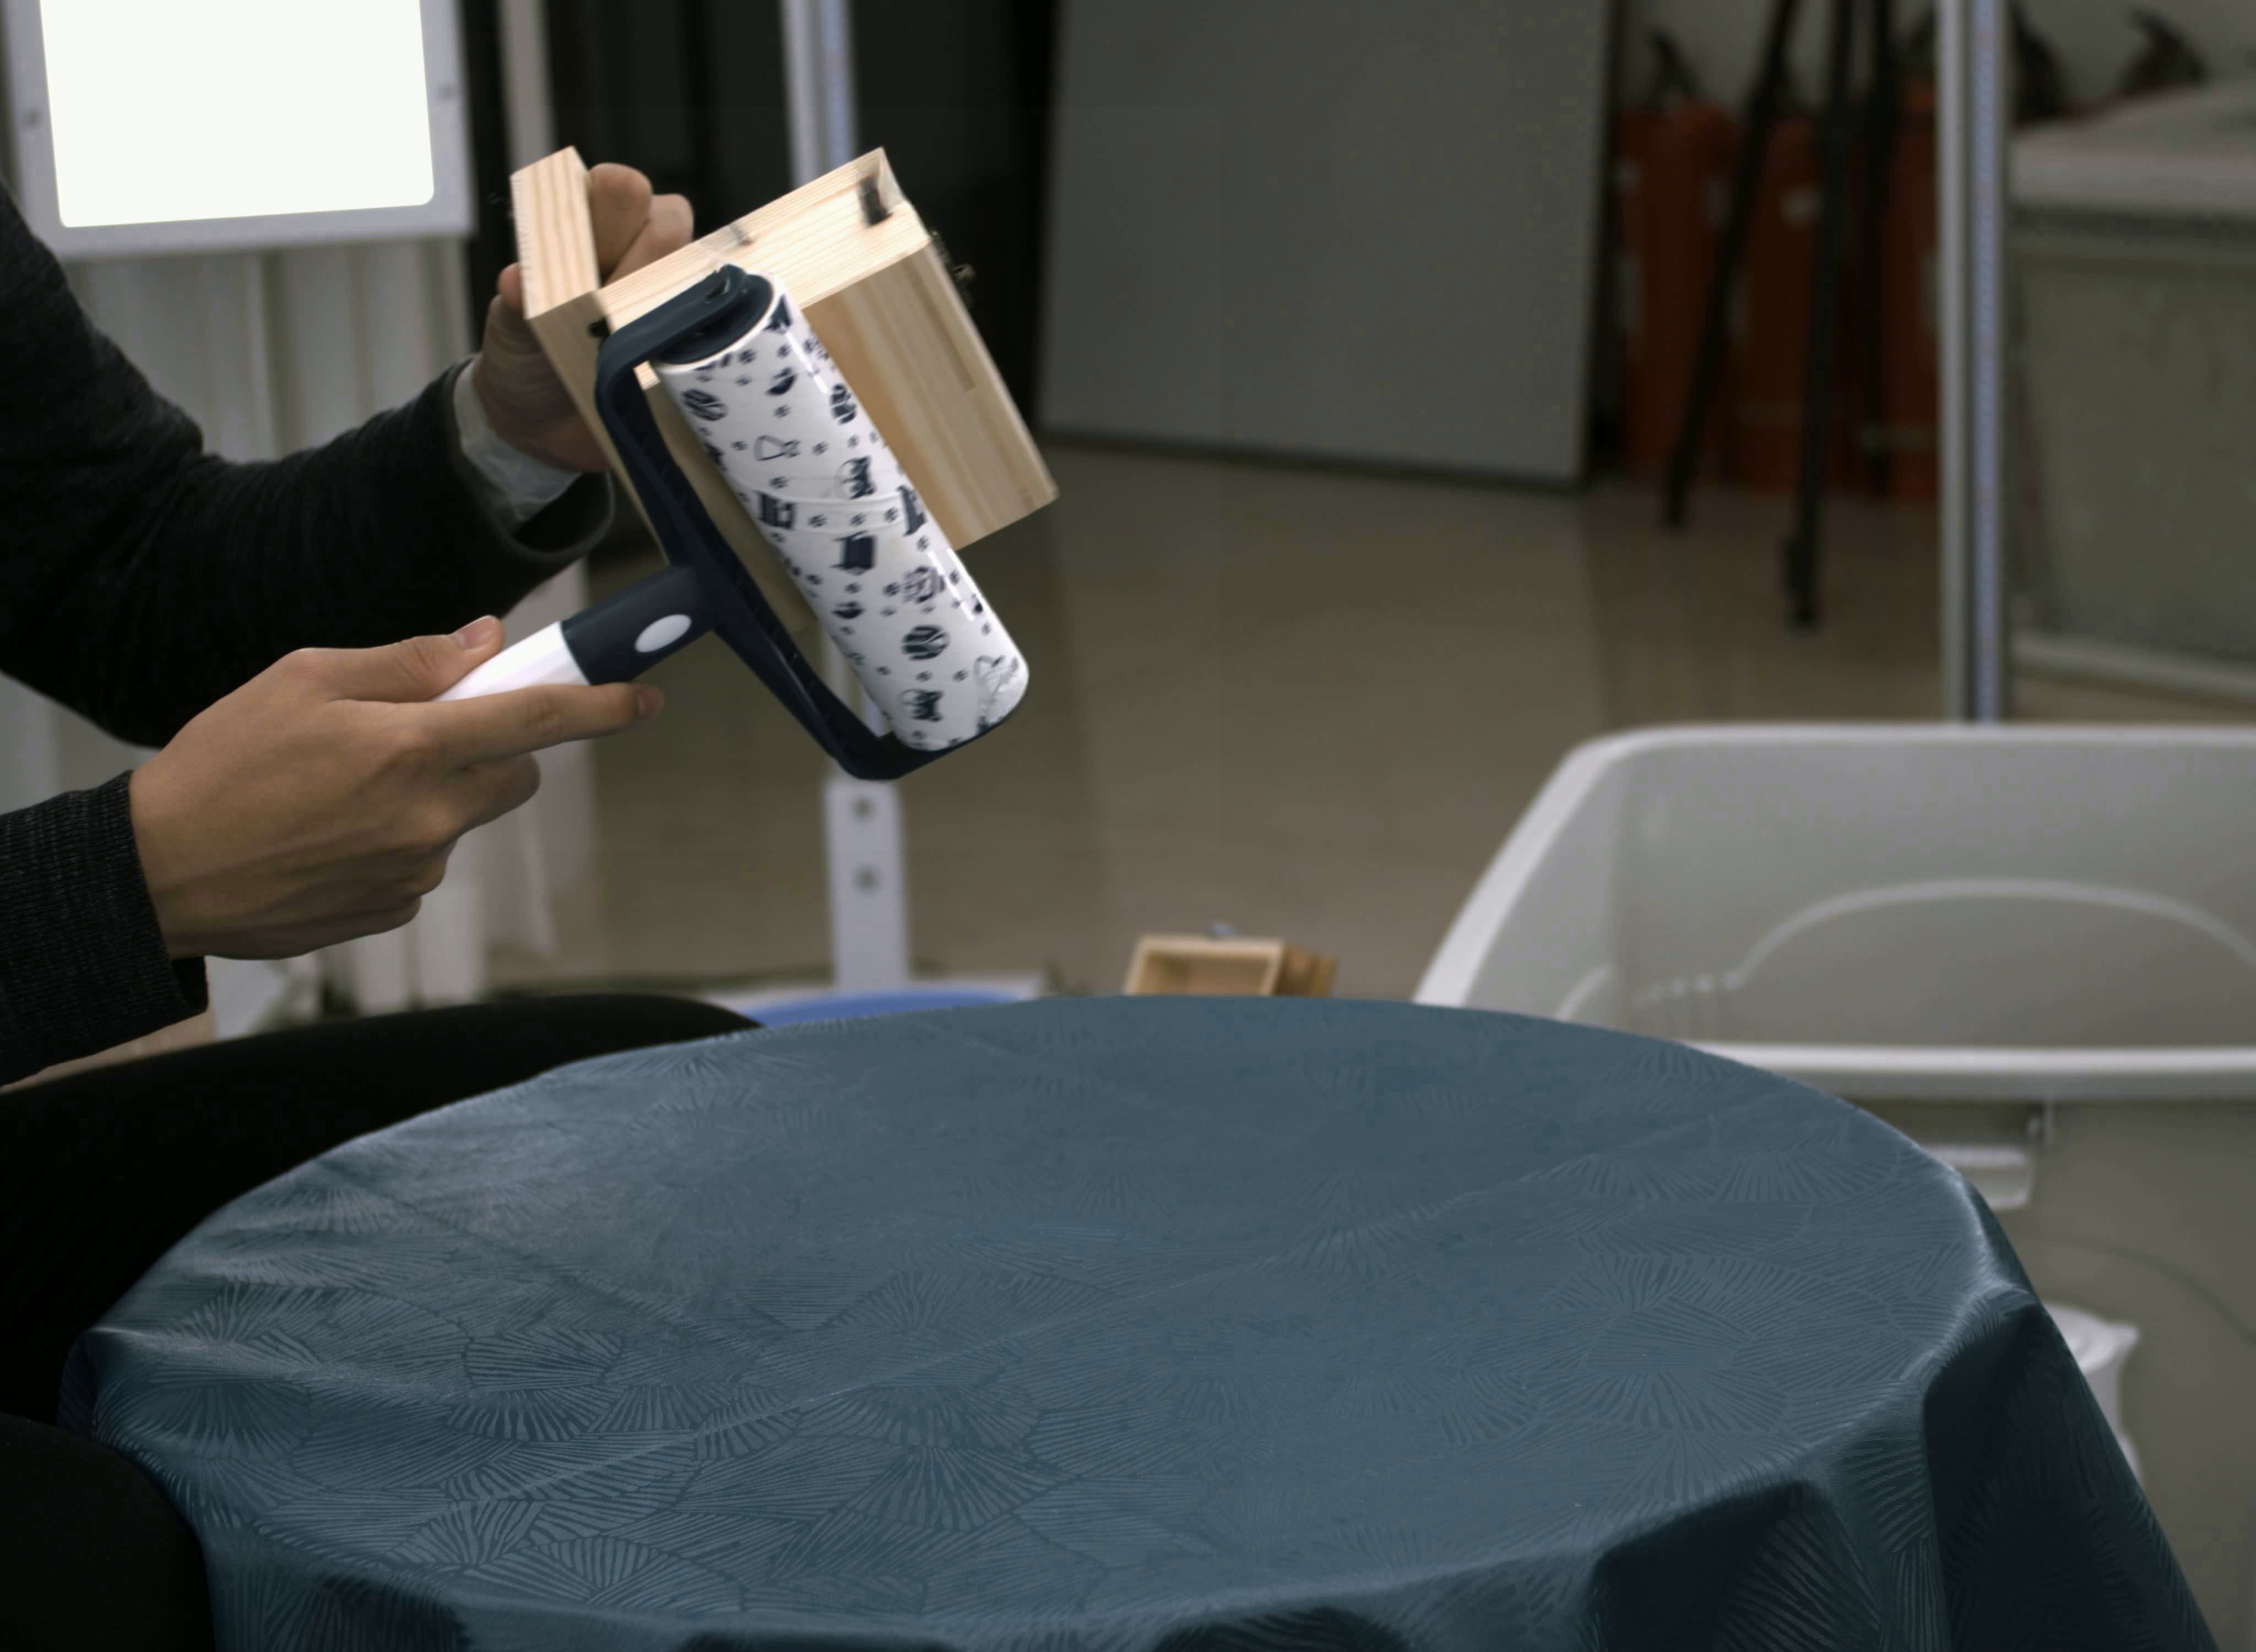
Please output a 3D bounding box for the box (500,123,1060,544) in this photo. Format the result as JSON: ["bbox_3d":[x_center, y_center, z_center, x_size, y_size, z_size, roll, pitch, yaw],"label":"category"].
[{"bbox_3d":[-0.113,-0.162,1.740,0.133,0.102,0.186,-28,32,1],"label":"box"}]

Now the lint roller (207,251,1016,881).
[{"bbox_3d":[-0.174,-0.046,1.658,0.246,0.175,0.051,-31,31,6],"label":"lint roller"}]
